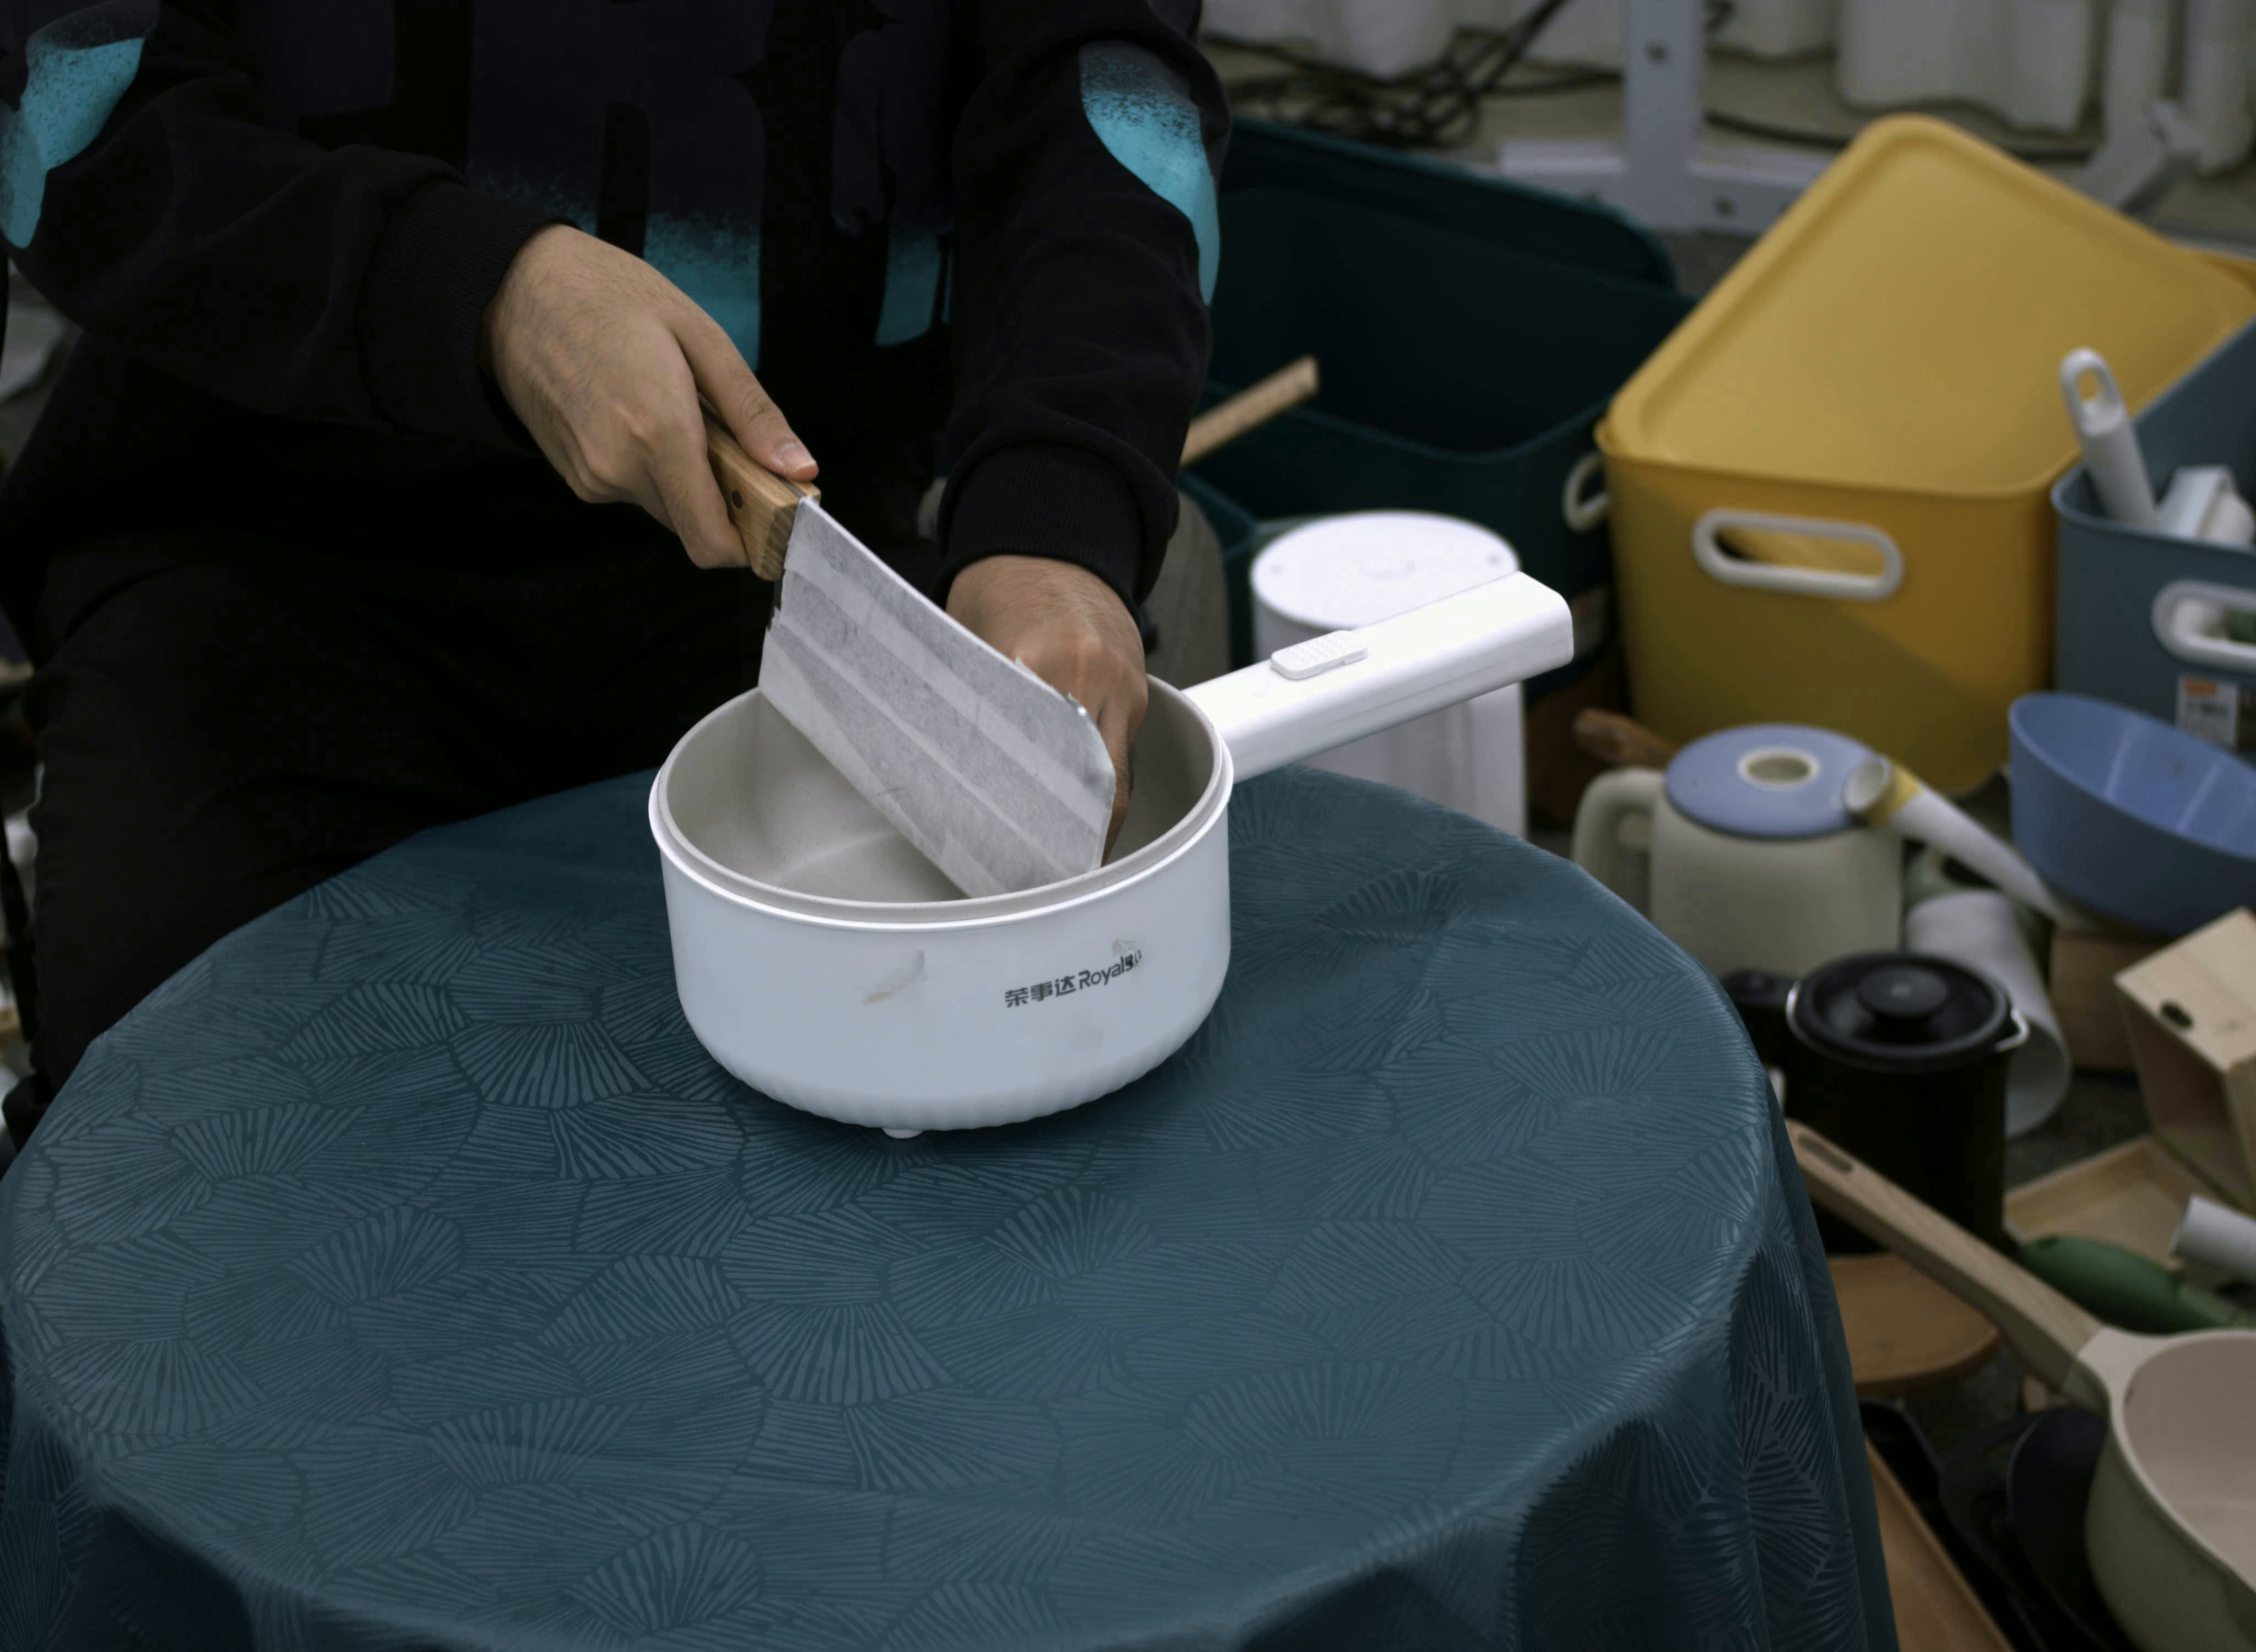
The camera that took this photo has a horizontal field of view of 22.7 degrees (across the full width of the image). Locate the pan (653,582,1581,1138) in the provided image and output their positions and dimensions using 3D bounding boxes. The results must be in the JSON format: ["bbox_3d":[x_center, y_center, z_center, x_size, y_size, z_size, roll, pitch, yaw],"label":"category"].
[{"bbox_3d":[0.004,0.004,1.982,0.357,0.101,0.202,-18,30,-28],"label":"pan"}]

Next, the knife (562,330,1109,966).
[{"bbox_3d":[-0.101,-0.075,1.936,0.022,0.112,0.317,-16,47,-37],"label":"knife"}]
